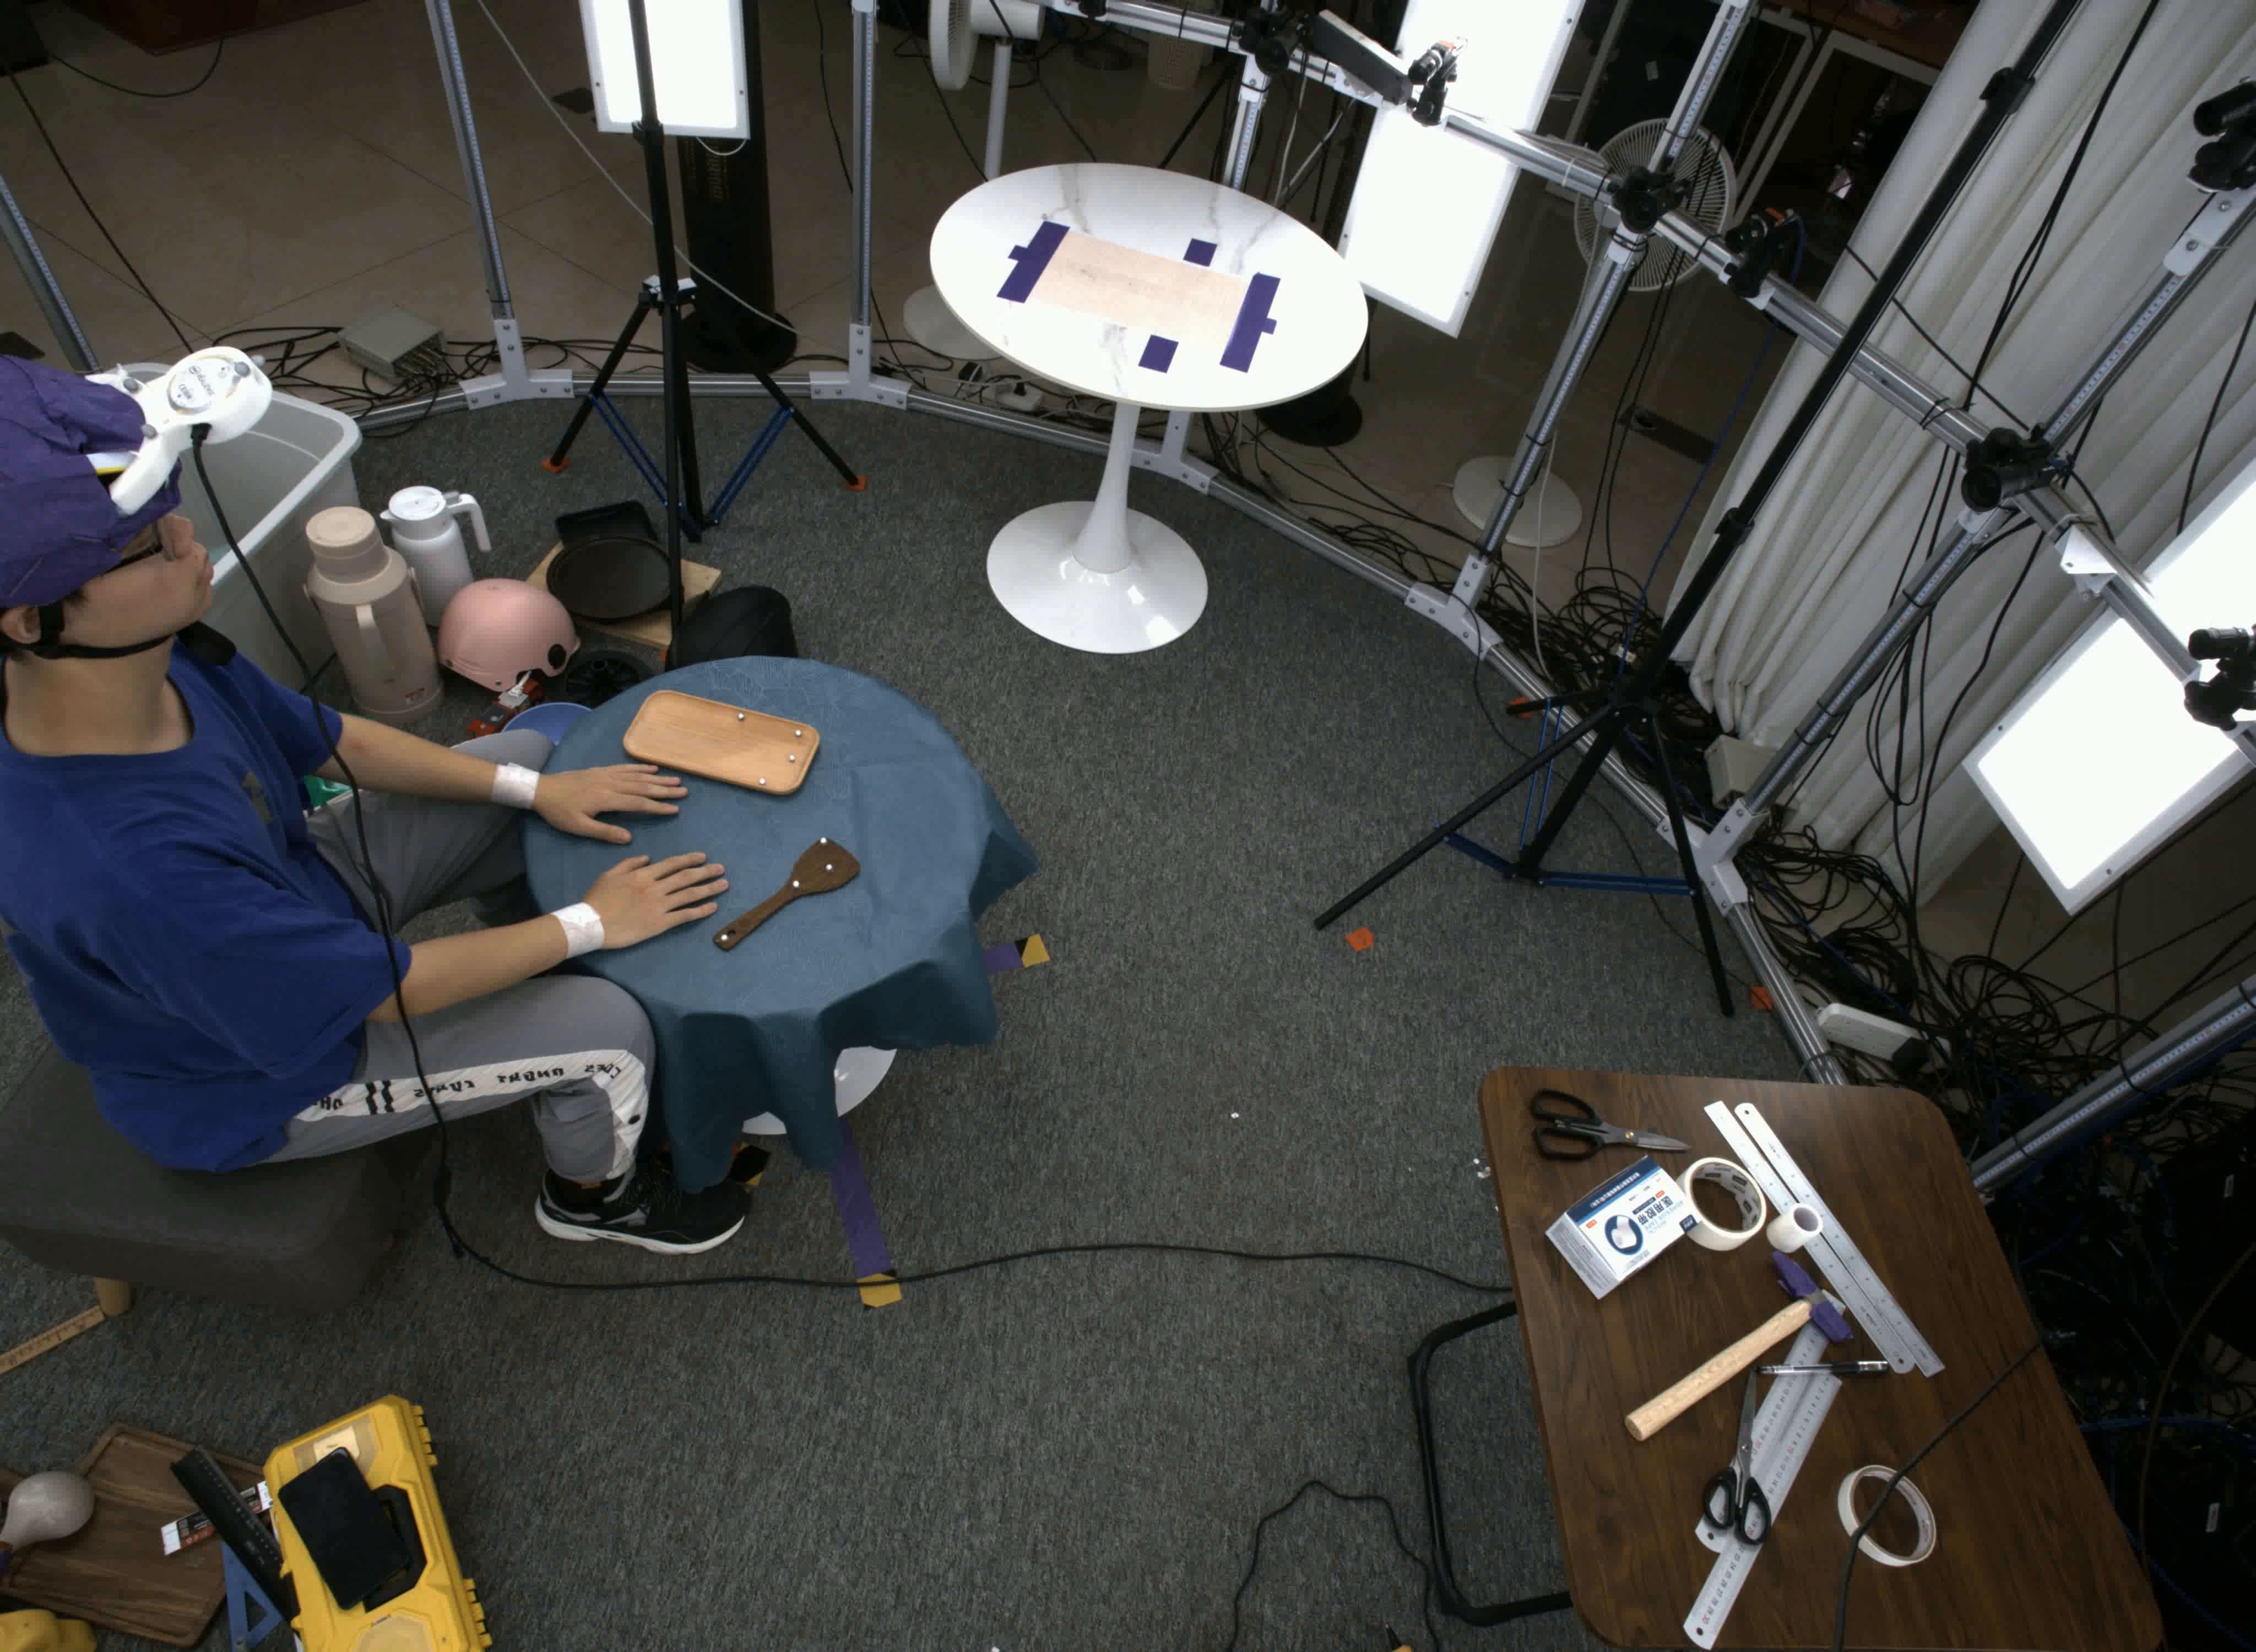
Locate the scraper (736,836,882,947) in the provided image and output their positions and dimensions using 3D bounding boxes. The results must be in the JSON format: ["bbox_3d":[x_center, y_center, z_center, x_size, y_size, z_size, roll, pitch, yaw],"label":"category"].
[{"bbox_3d":[-0.414,0.086,1.667,0.074,0.011,0.211,40,56,17],"label":"scraper"}]

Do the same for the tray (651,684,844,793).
[{"bbox_3d":[-0.526,-0.121,1.787,0.248,0.023,0.129,16,49,-1],"label":"tray"}]
